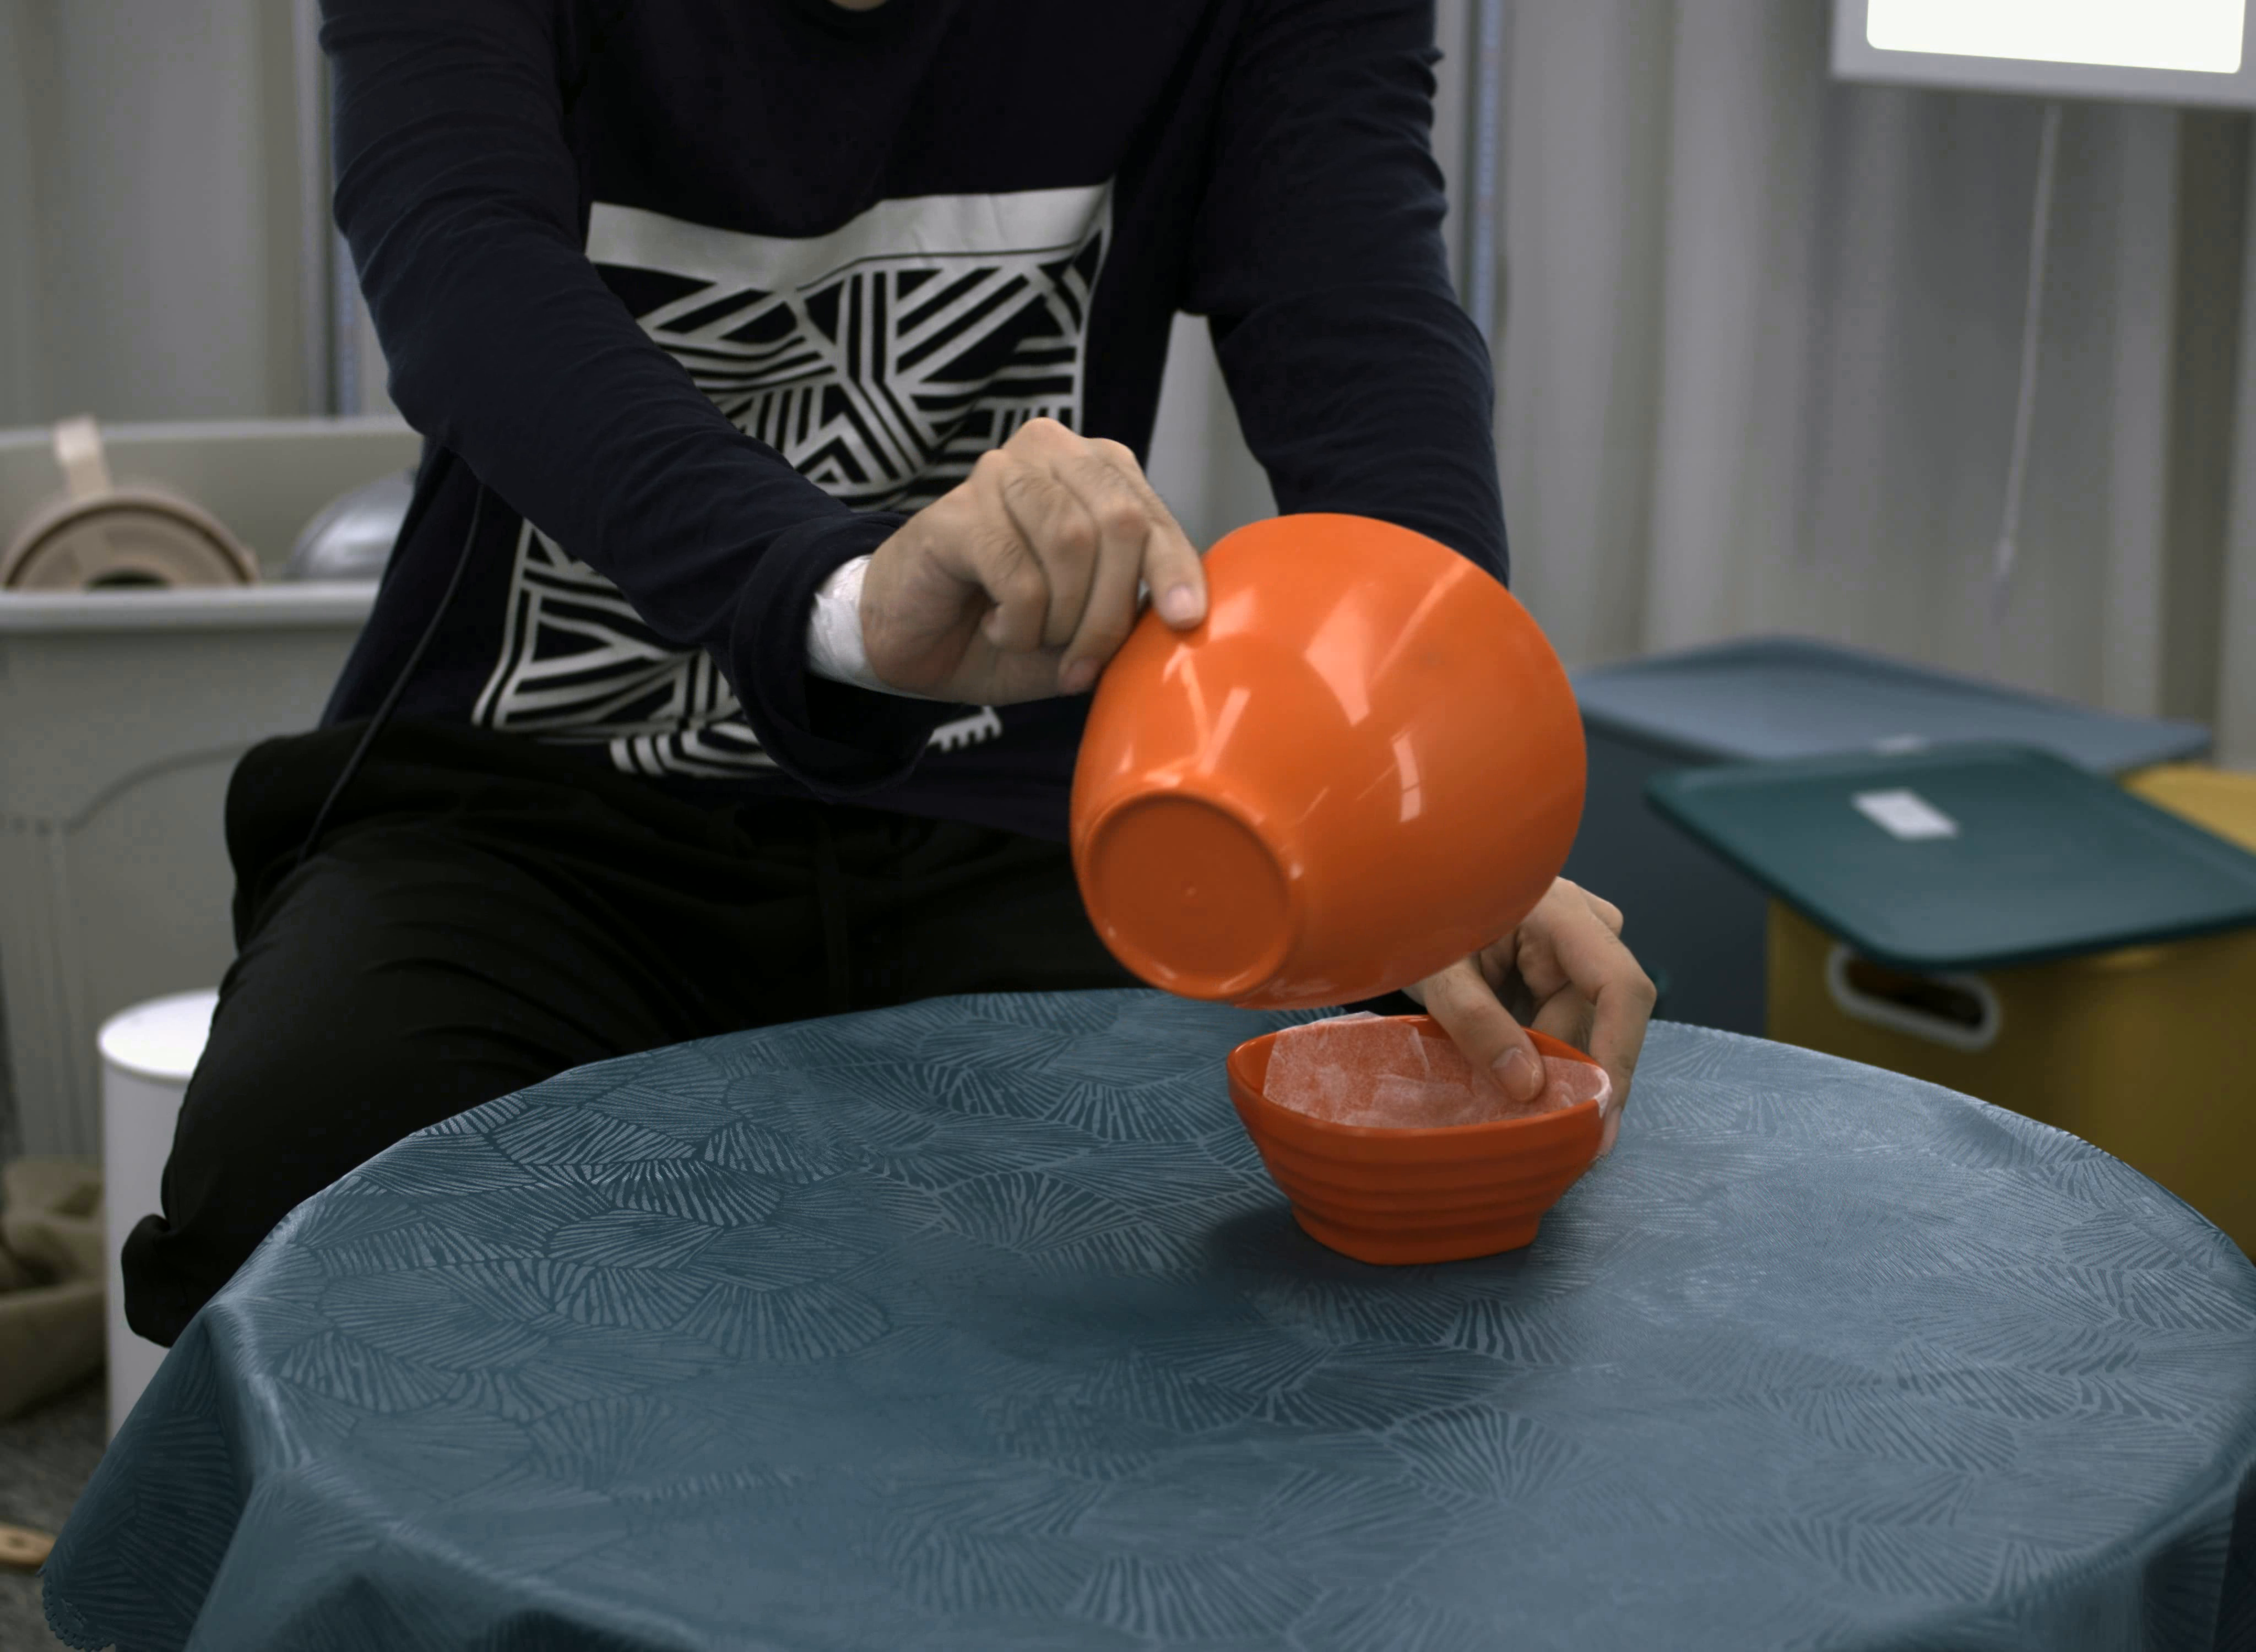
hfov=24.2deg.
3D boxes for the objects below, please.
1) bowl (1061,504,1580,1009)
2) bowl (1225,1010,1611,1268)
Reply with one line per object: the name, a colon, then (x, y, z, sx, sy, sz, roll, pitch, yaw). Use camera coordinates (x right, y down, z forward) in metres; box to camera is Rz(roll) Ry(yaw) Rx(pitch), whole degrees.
bowl: (0.043, -0.006, 1.509, 0.146, 0.150, 0.104, 7, 31, 22)
bowl: (0.087, 0.096, 1.590, 0.118, 0.052, 0.118, -1, 16, 1)
